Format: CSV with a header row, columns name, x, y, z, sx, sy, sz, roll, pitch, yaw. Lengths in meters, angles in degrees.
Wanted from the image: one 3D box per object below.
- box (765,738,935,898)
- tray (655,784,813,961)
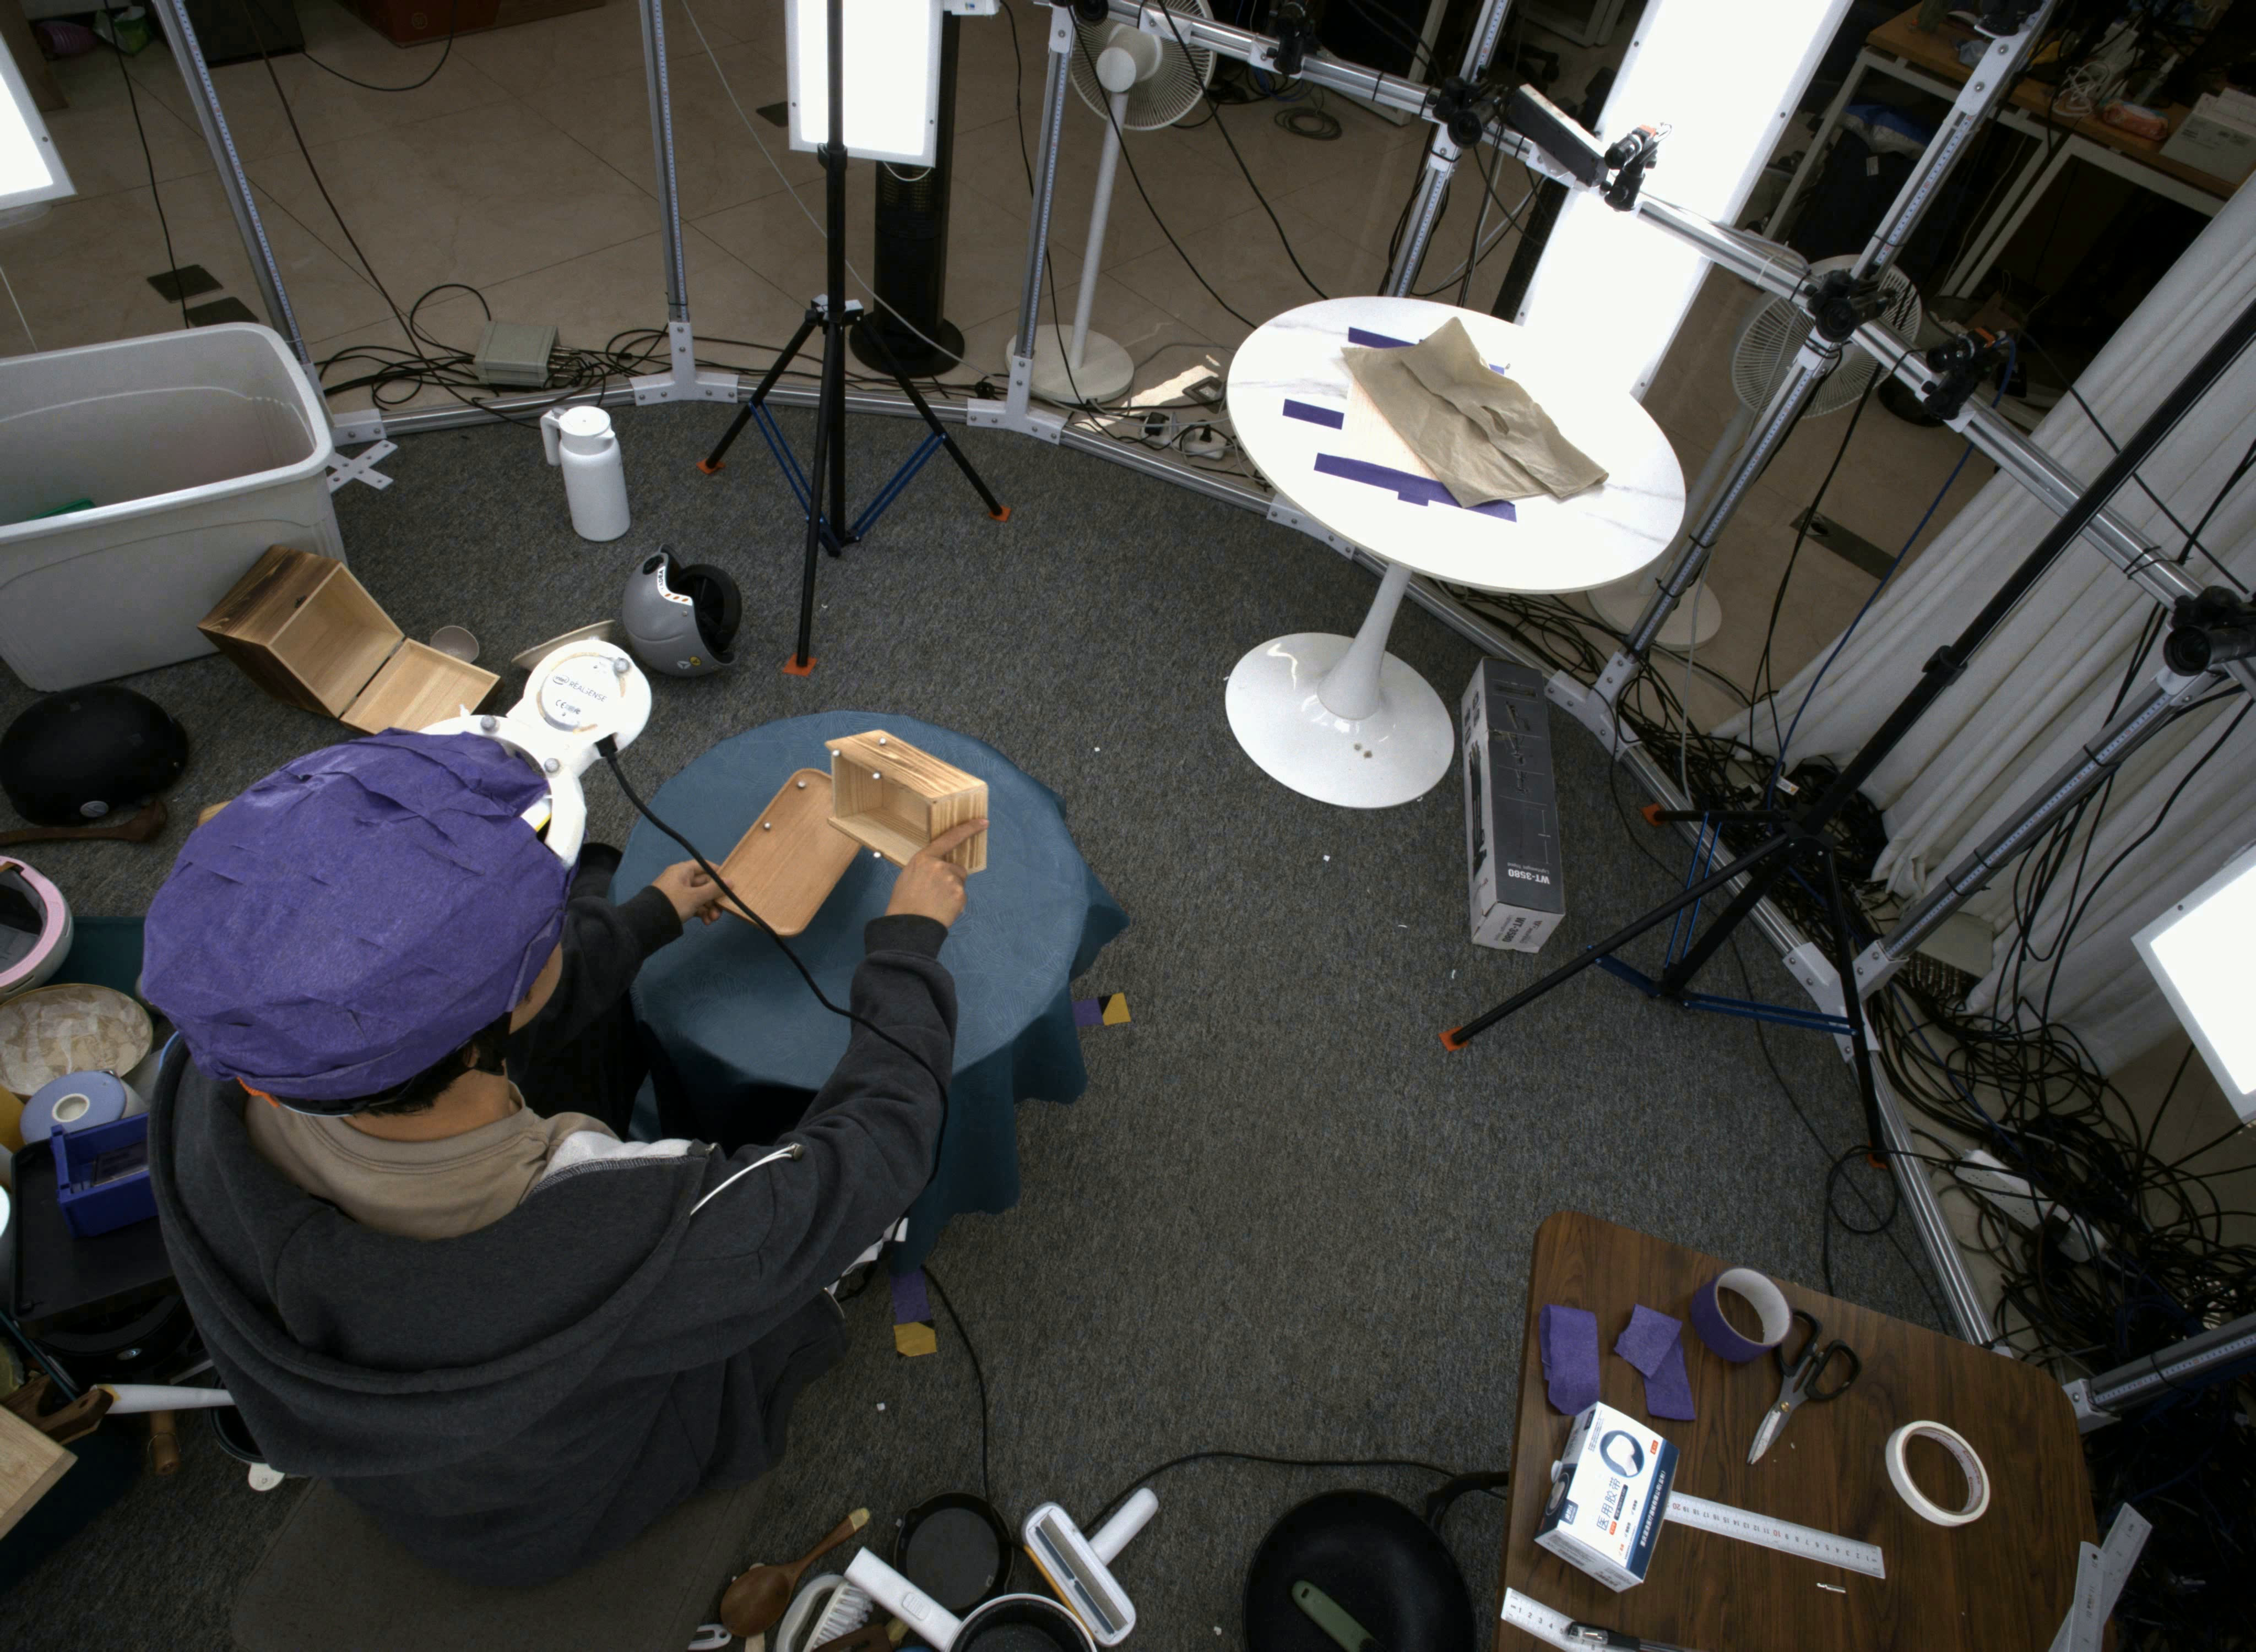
name,x,y,z,sx,sy,sz,roll,pitch,yaw
box,-0.315,-0.014,1.471,0.203,0.110,0.081,23,31,36
tray,-0.467,0.051,1.575,0.130,0.023,0.248,24,48,-3
